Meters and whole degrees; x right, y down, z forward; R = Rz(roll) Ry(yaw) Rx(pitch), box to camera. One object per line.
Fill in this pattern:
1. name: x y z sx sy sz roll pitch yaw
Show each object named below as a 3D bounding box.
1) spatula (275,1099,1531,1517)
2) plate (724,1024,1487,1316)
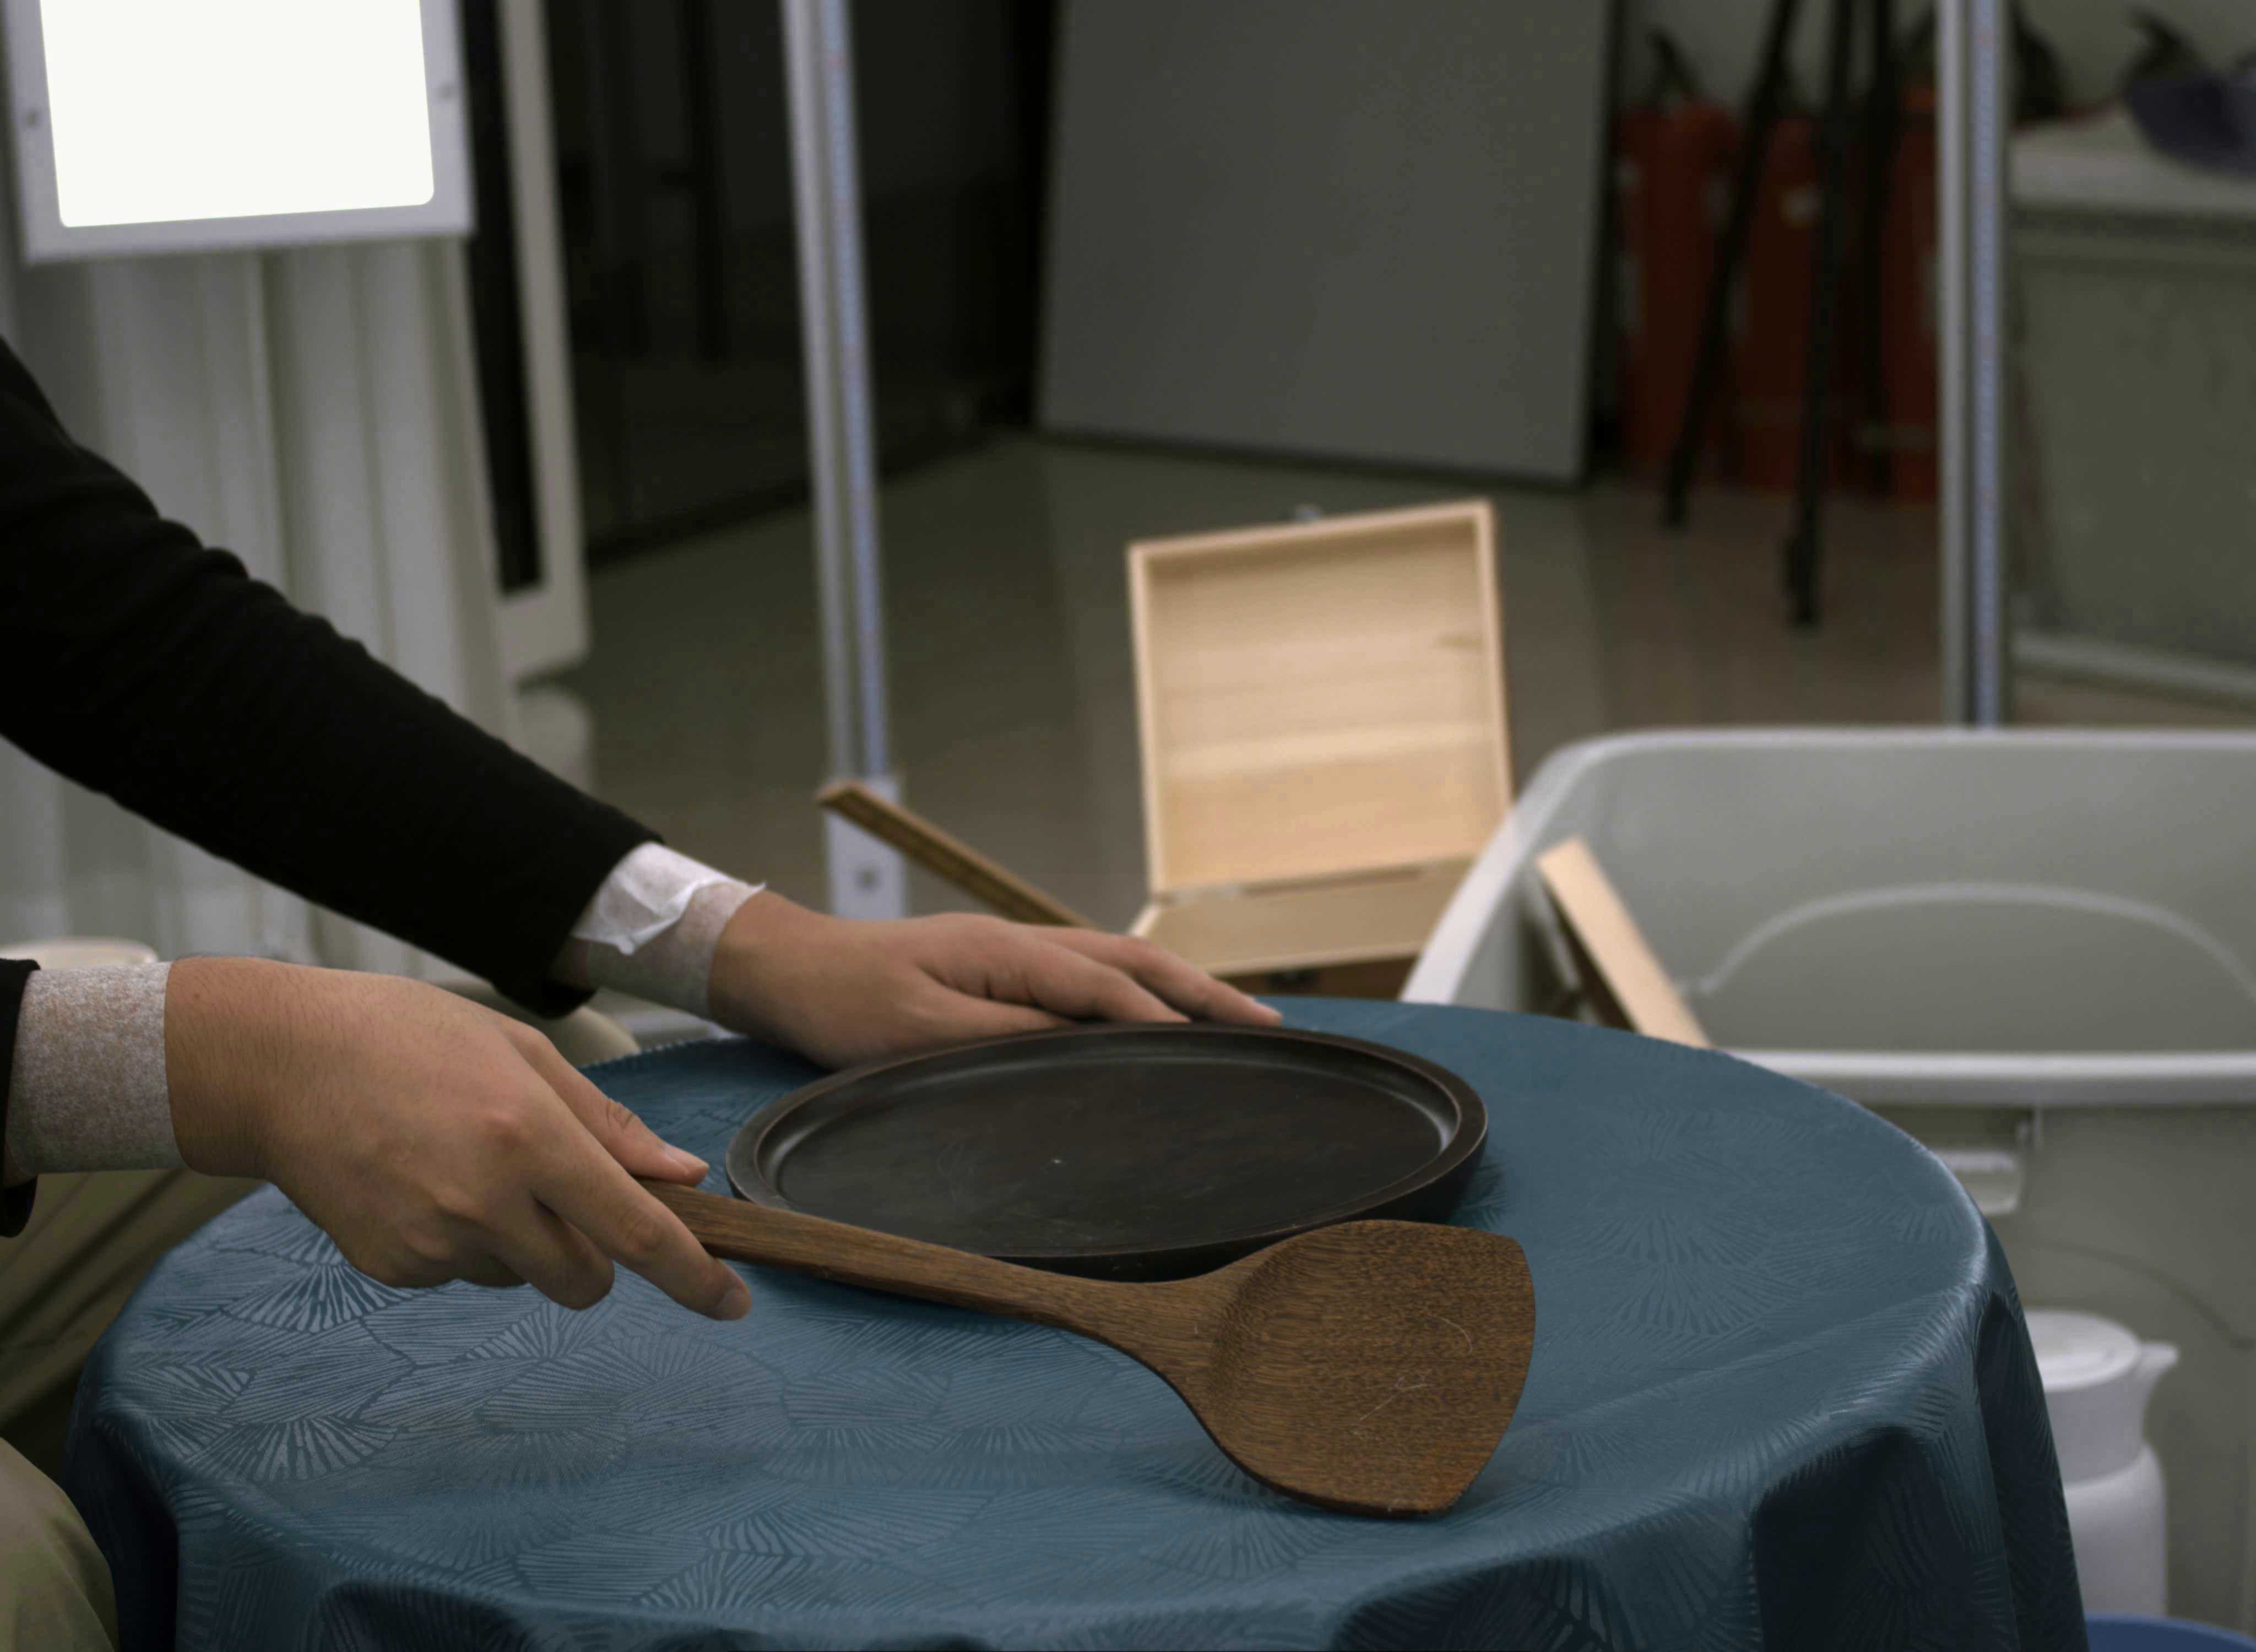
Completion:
1. spatula: -0.072 0.124 1.546 0.385 0.016 0.096 10 58 17
2. plate: -0.007 0.111 1.767 0.251 0.029 0.255 -4 15 0
